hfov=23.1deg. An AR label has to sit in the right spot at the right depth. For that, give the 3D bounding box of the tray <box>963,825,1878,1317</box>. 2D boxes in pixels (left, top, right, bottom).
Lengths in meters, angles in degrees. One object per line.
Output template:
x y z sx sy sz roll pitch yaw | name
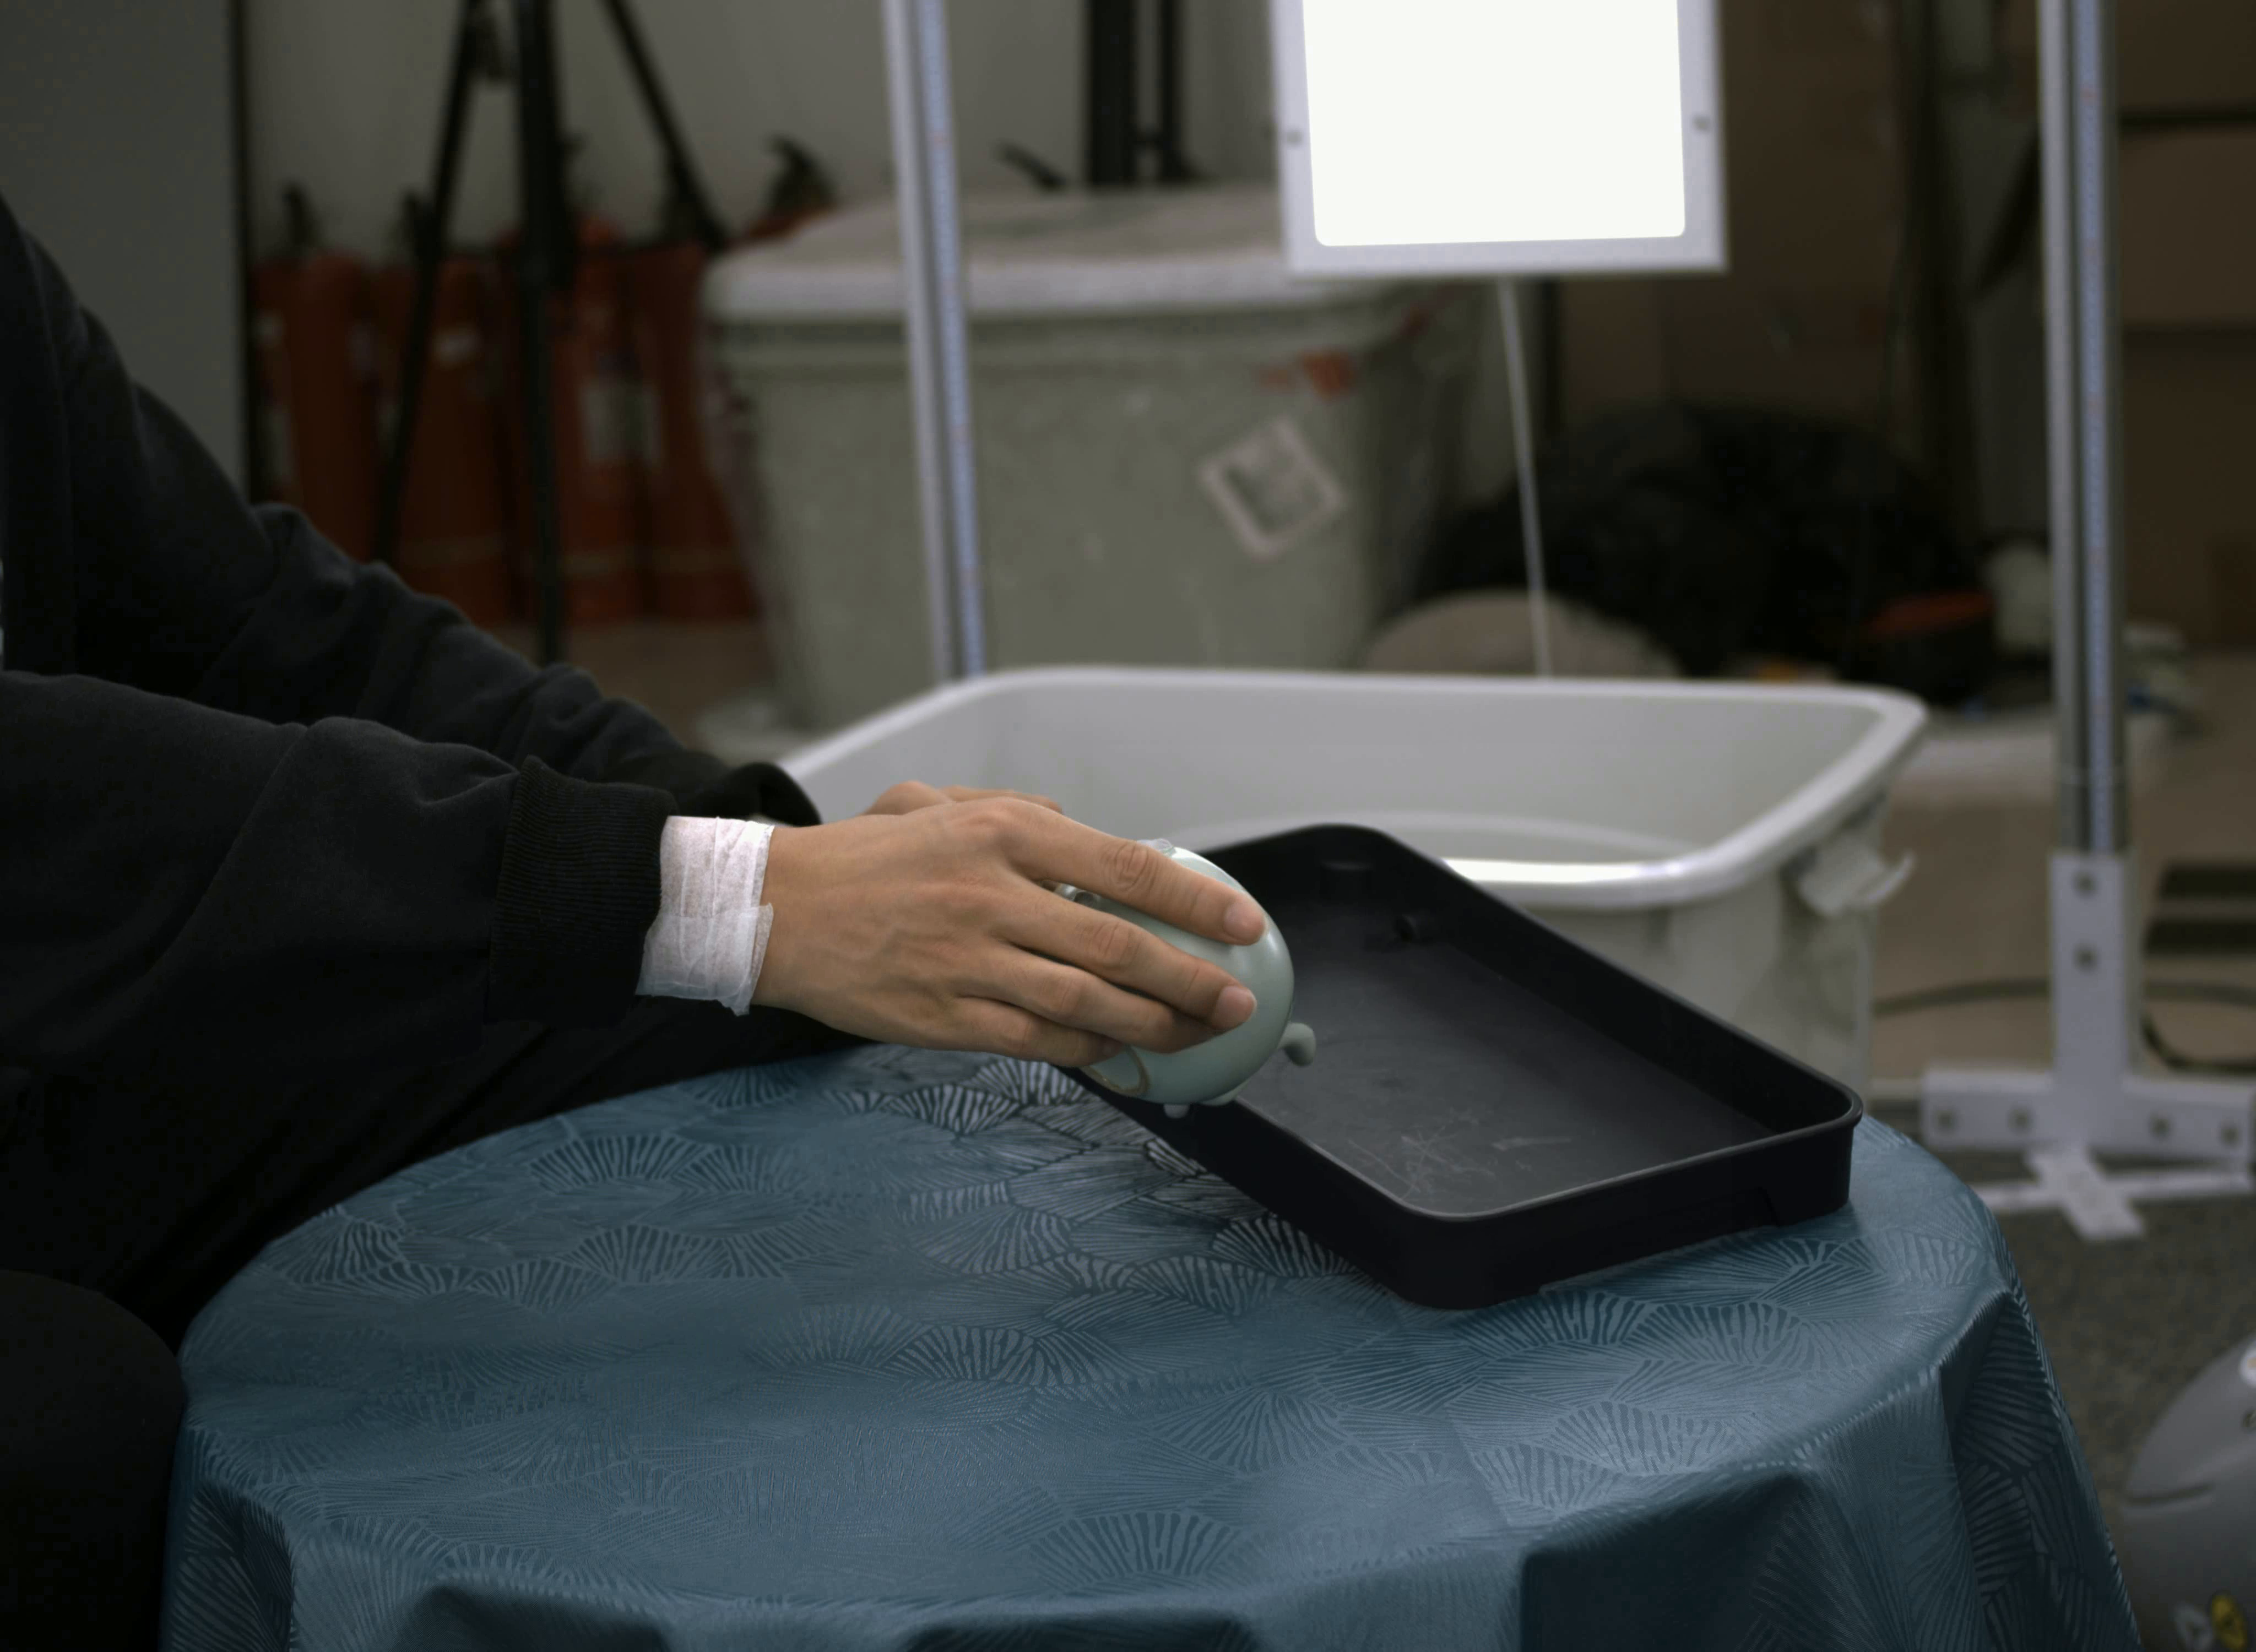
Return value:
0.095 0.078 1.894 0.180 0.037 0.323 -13 24 -30 | tray

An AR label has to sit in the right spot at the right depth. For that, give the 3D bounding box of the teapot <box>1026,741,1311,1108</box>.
0.011 0.047 1.781 0.073 0.143 0.090 -44 34 -25 | teapot
